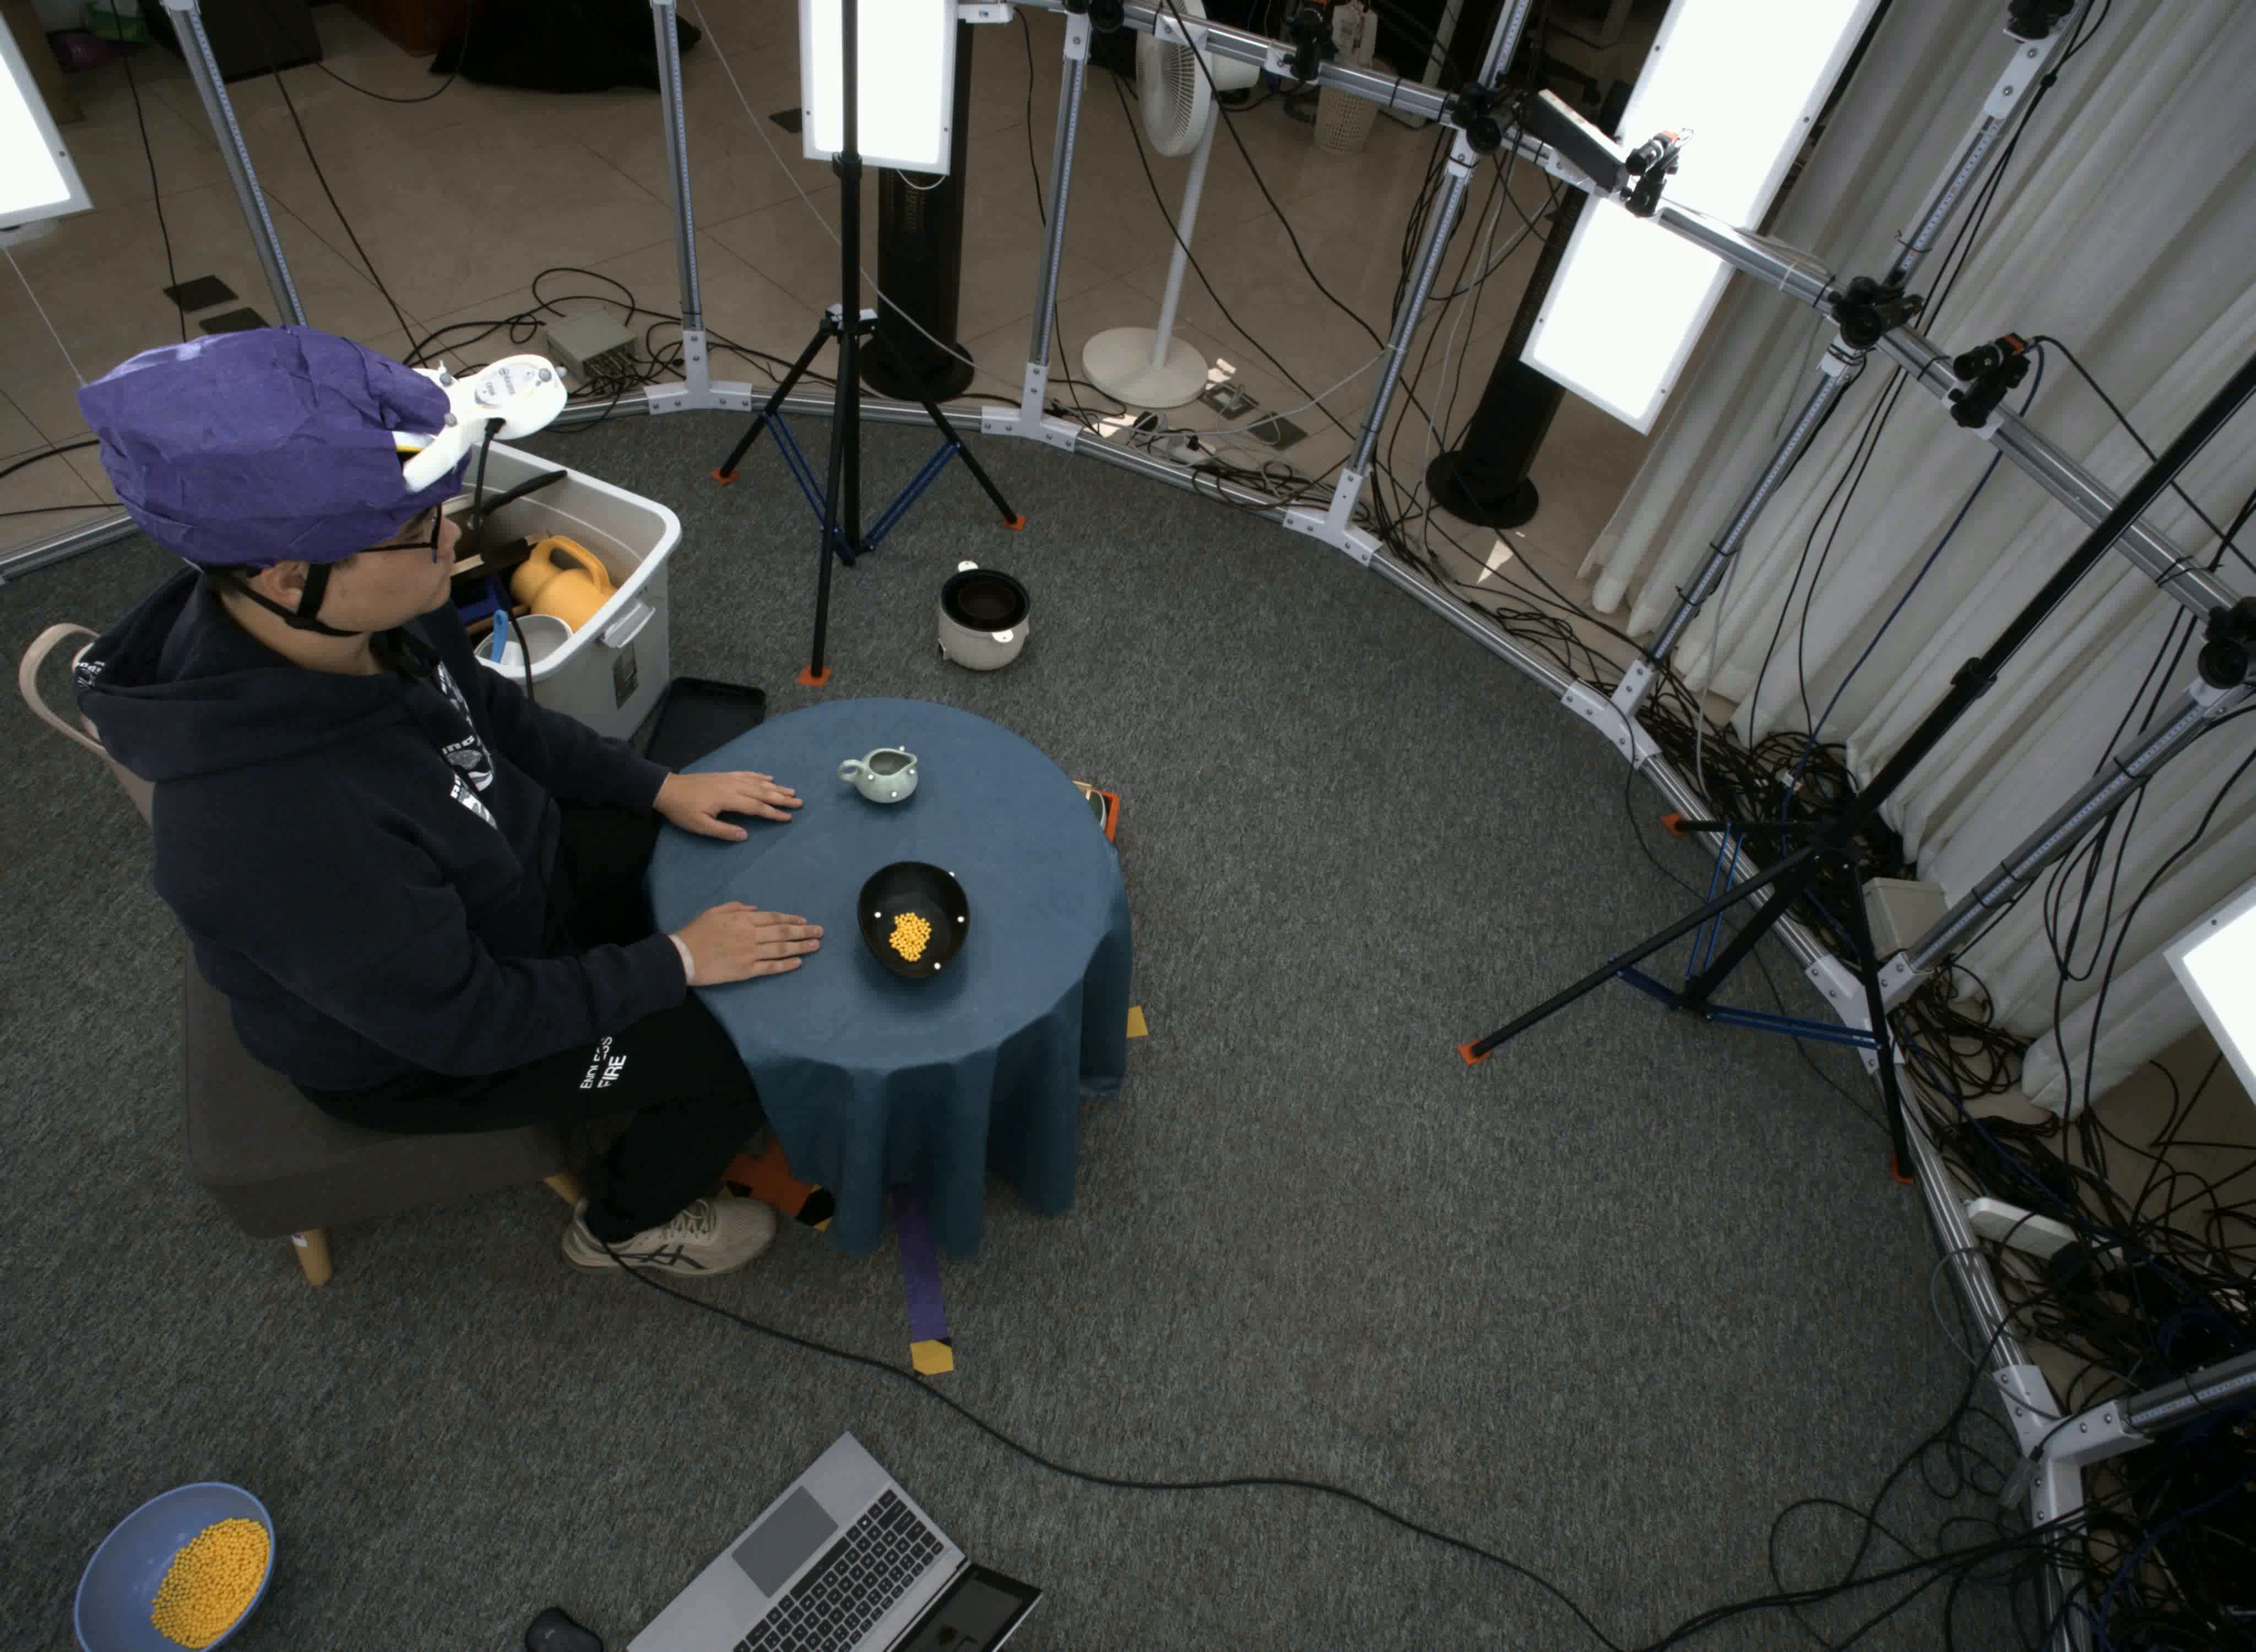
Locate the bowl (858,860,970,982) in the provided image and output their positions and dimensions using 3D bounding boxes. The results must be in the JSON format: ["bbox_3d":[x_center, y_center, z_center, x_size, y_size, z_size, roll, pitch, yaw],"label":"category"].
[{"bbox_3d":[-0.267,0.125,1.625,0.138,0.068,0.166,-5,56,-16],"label":"bowl"}]

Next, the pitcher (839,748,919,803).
[{"bbox_3d":[-0.337,-0.071,1.759,0.108,0.062,0.084,-8,54,-16],"label":"pitcher"}]
